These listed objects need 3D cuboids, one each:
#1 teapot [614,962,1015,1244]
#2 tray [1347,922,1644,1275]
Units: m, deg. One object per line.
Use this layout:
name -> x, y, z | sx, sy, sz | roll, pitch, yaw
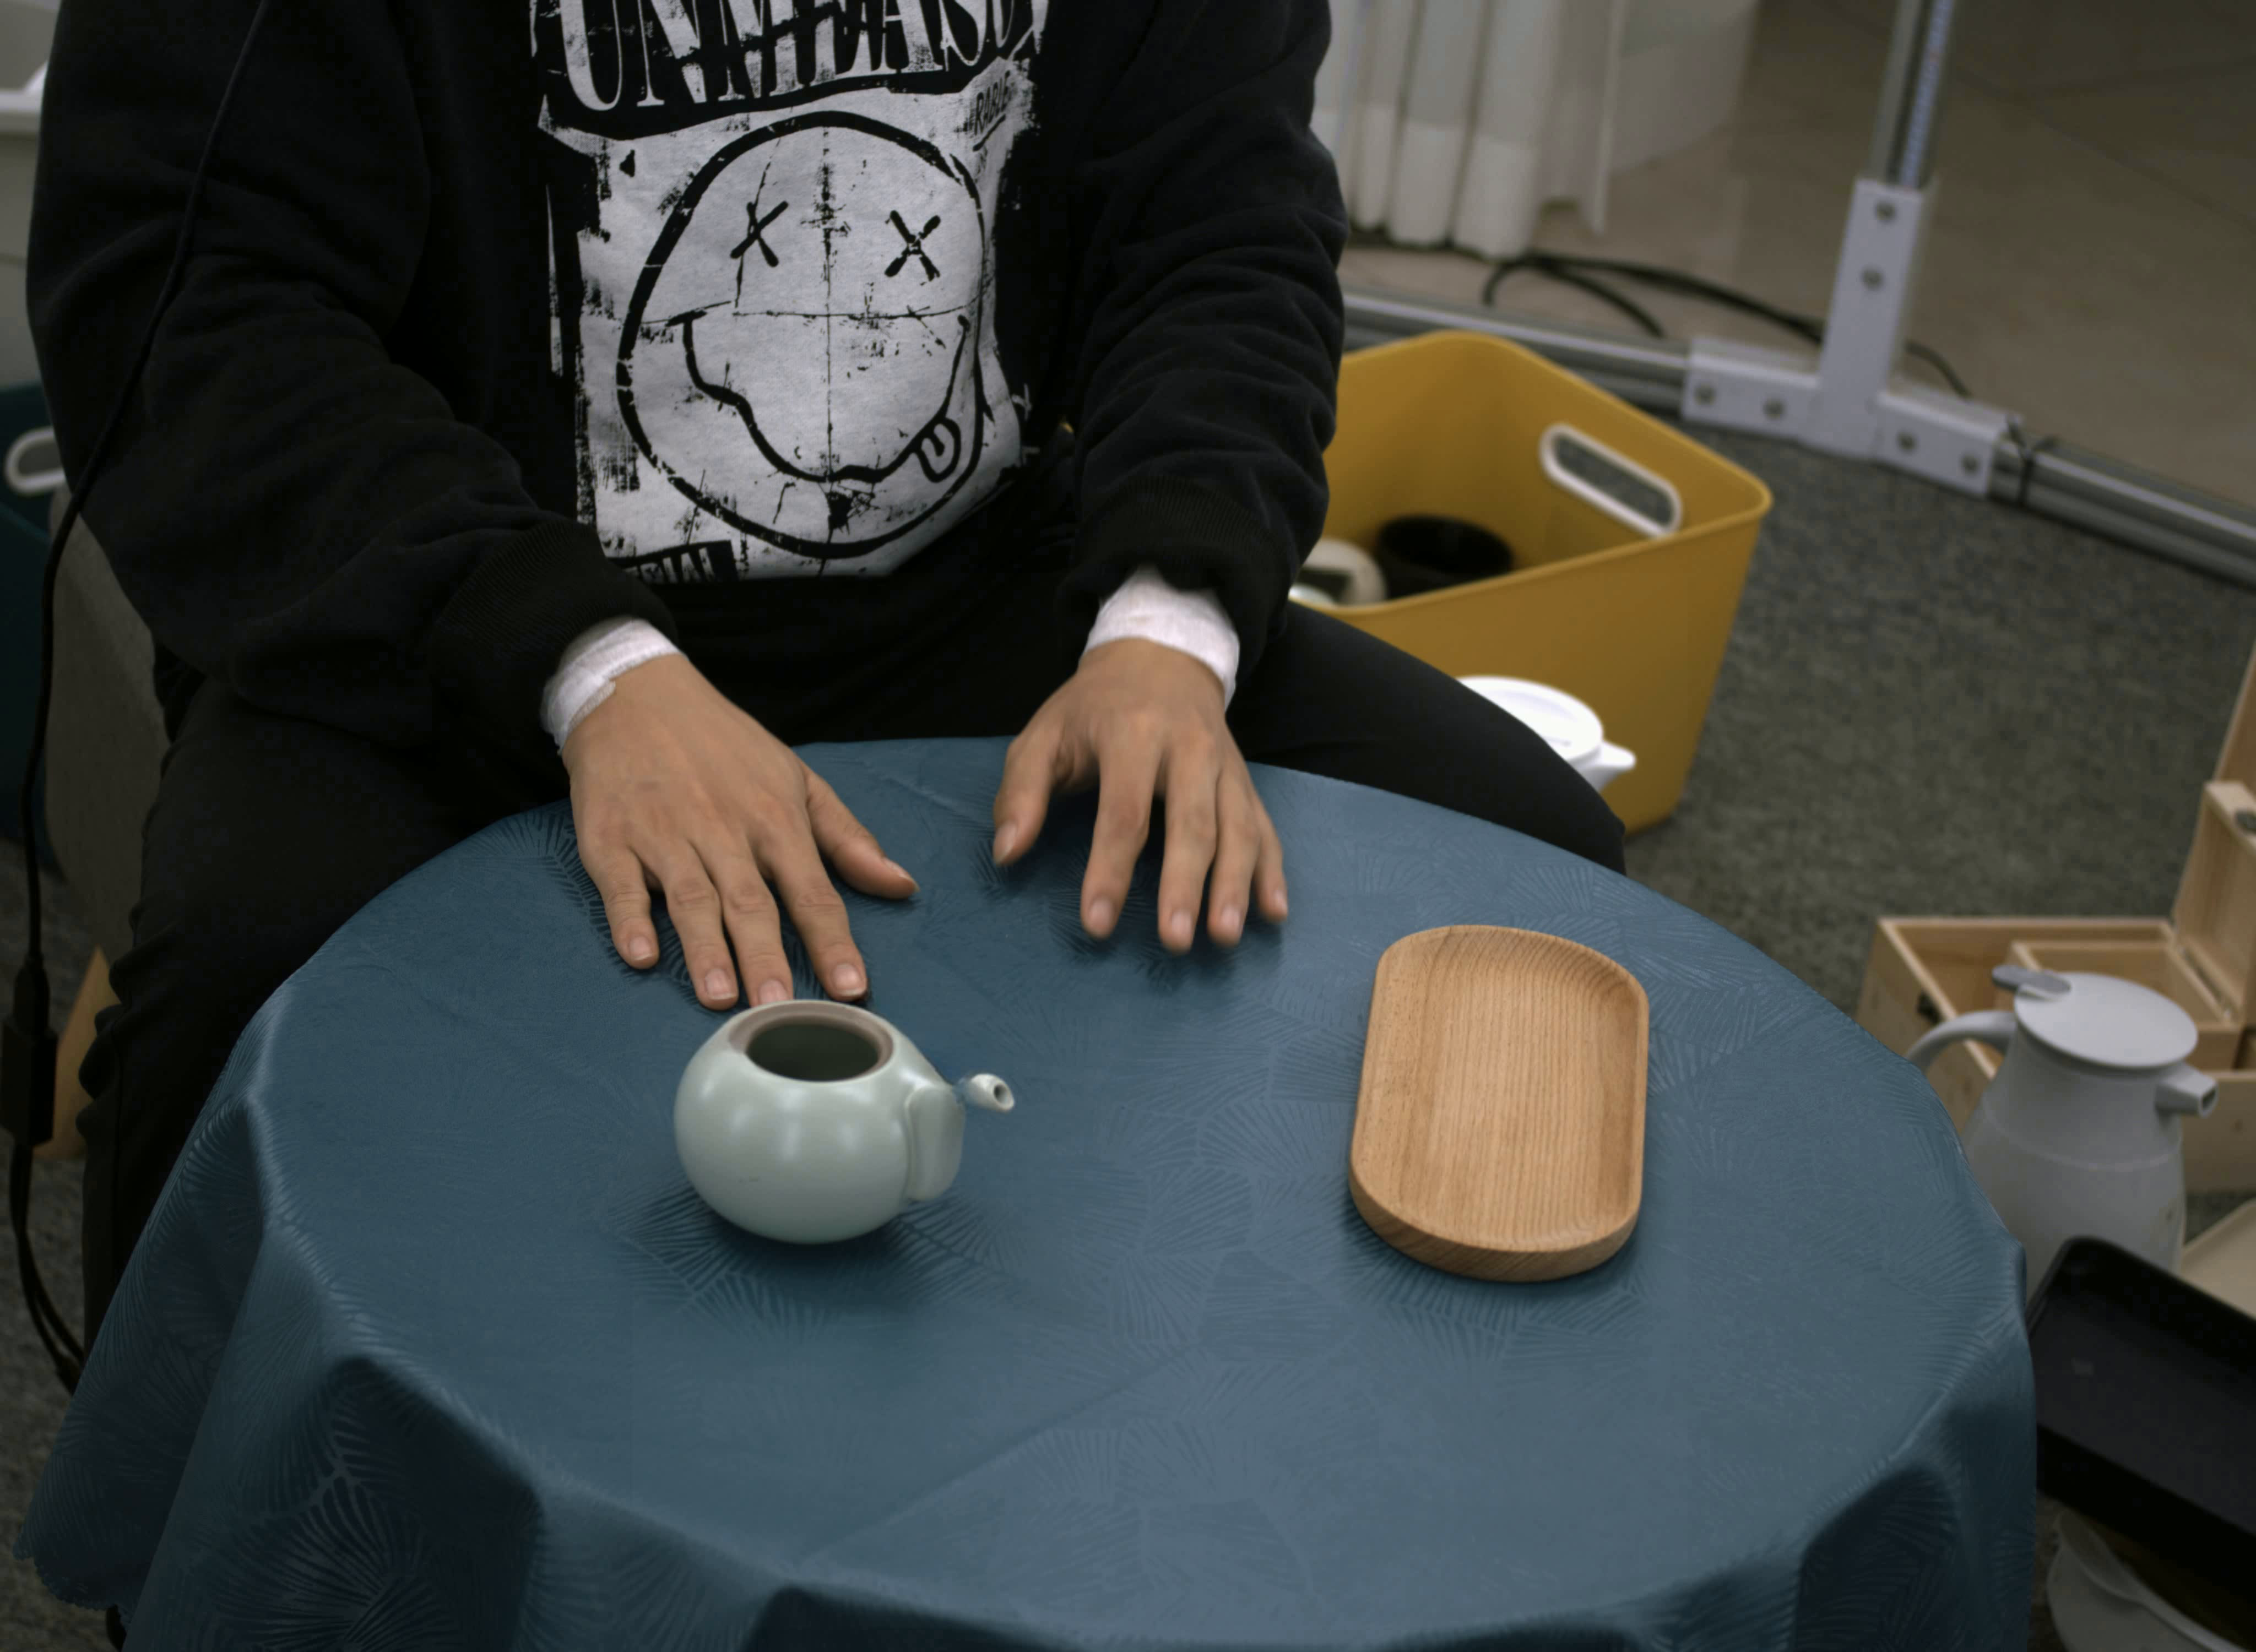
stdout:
teapot -> -0.106, 0.096, 1.756 | 0.144, 0.074, 0.088 | 19, 29, 20
tray -> 0.131, 0.094, 1.876 | 0.101, 0.020, 0.232 | 9, 25, 2
